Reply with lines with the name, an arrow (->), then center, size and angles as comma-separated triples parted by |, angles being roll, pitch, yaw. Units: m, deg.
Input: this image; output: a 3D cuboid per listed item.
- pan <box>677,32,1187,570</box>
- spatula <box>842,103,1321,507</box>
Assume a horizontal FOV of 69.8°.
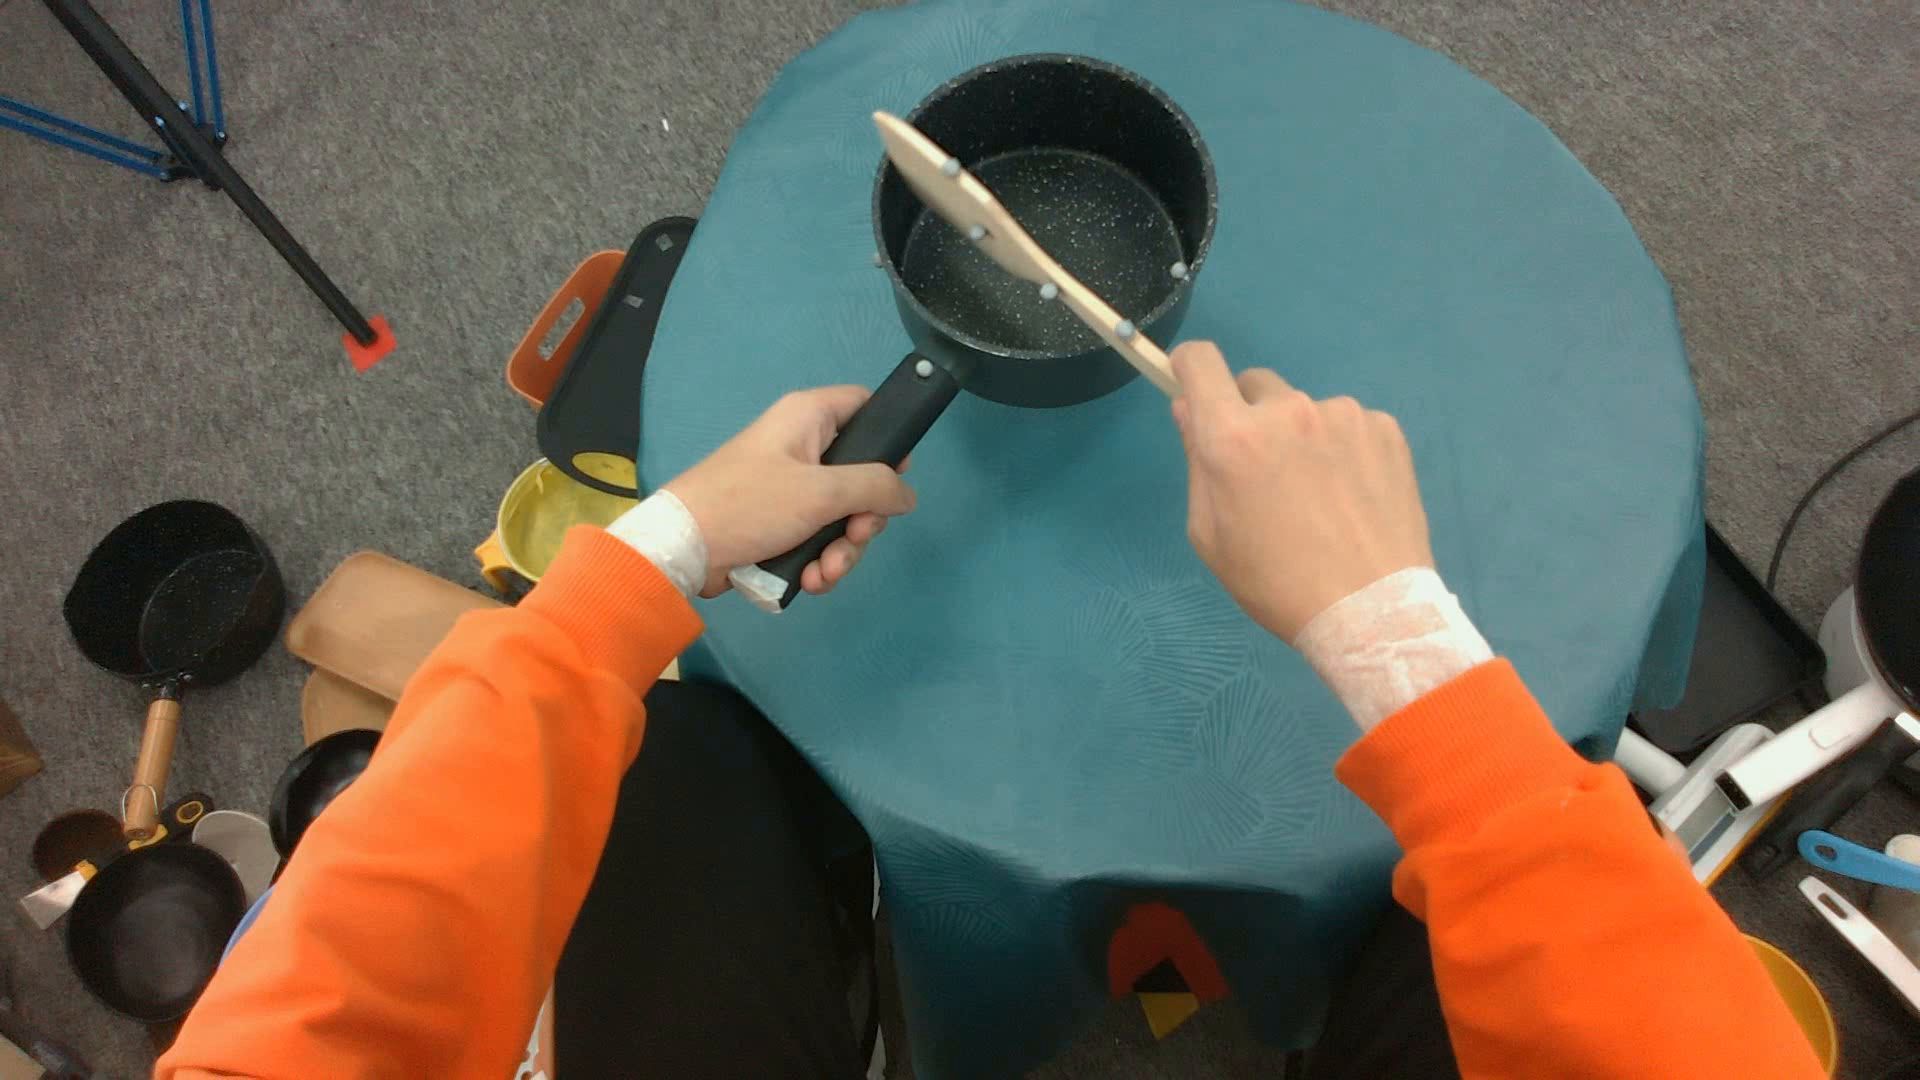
pan -> -0.018, -0.108, 0.694 | 0.172, 0.086, 0.329 | 34, 74, 13
spatula -> 0.050, -0.109, 0.624 | 0.010, 0.072, 0.293 | -45, 66, -4
